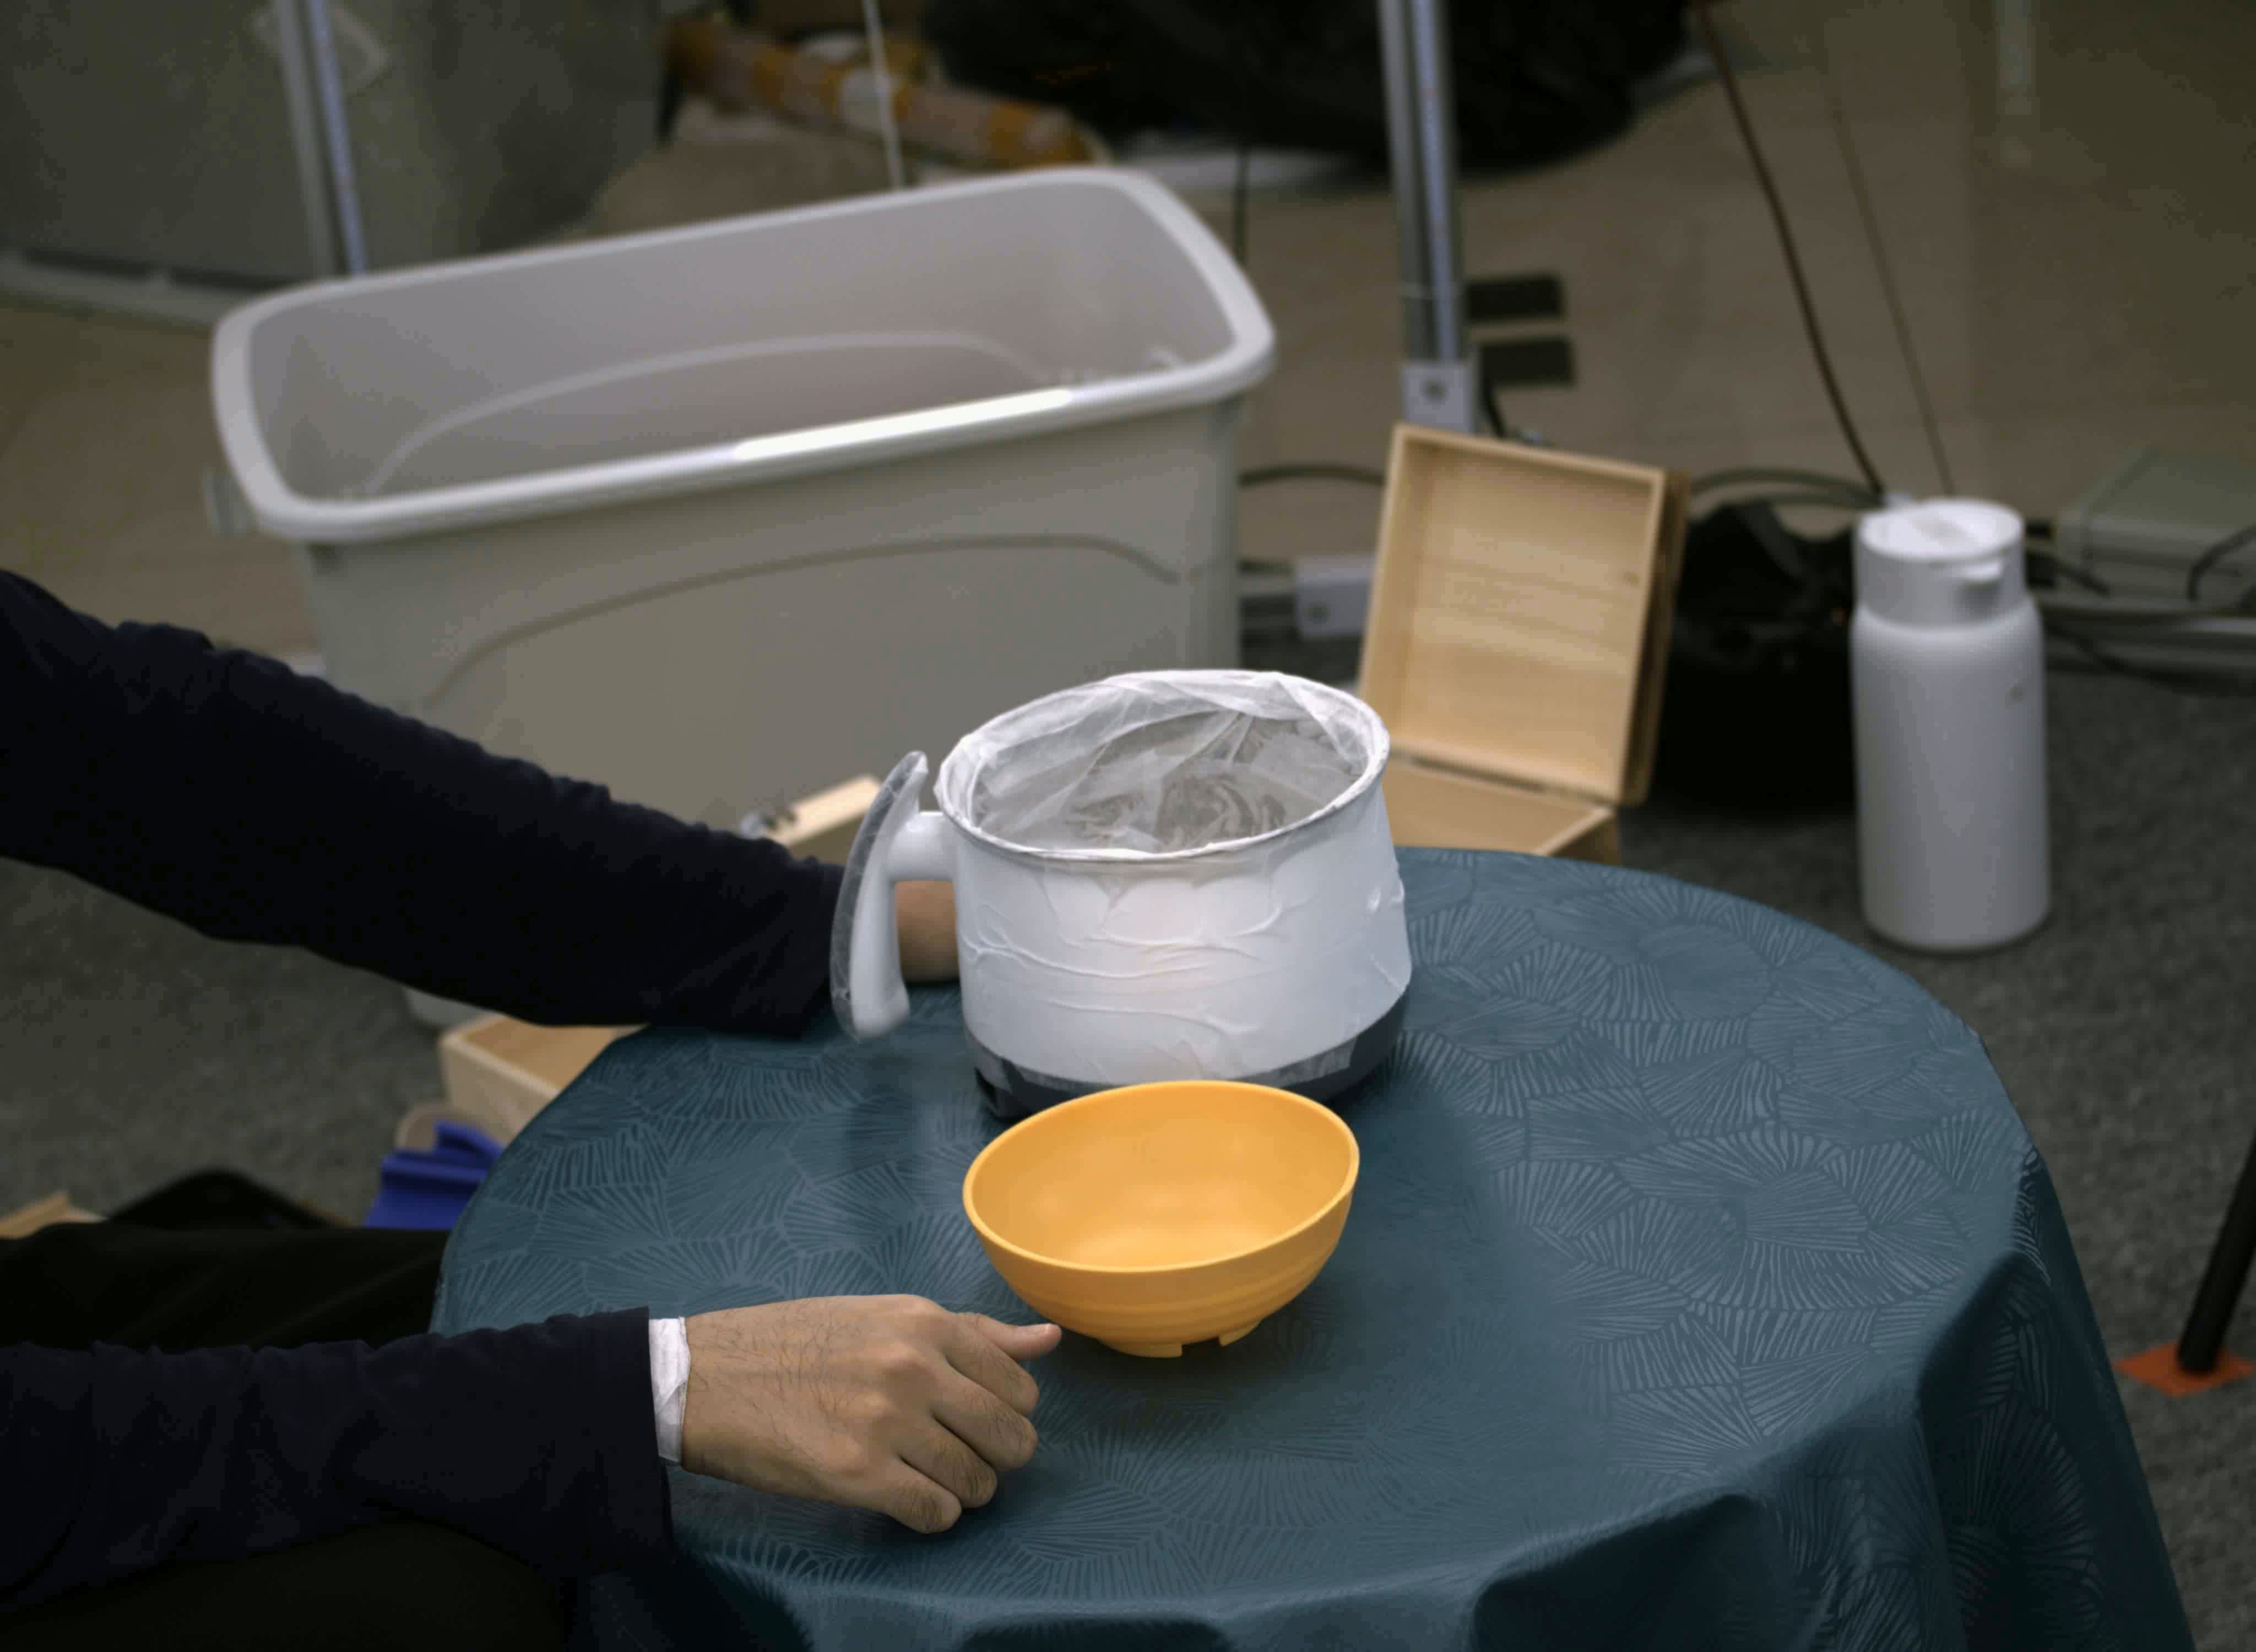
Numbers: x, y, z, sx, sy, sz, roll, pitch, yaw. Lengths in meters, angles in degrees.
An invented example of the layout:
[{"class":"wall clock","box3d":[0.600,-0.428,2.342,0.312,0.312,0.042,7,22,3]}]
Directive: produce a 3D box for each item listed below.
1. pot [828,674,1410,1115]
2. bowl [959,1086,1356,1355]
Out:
[{"class":"pot","box3d":[-0.007,0.032,2.217,0.233,0.138,0.176,0,23,11]},{"class":"bowl","box3d":[0.013,0.150,2.050,0.145,0.061,0.143,-5,23,2]}]
